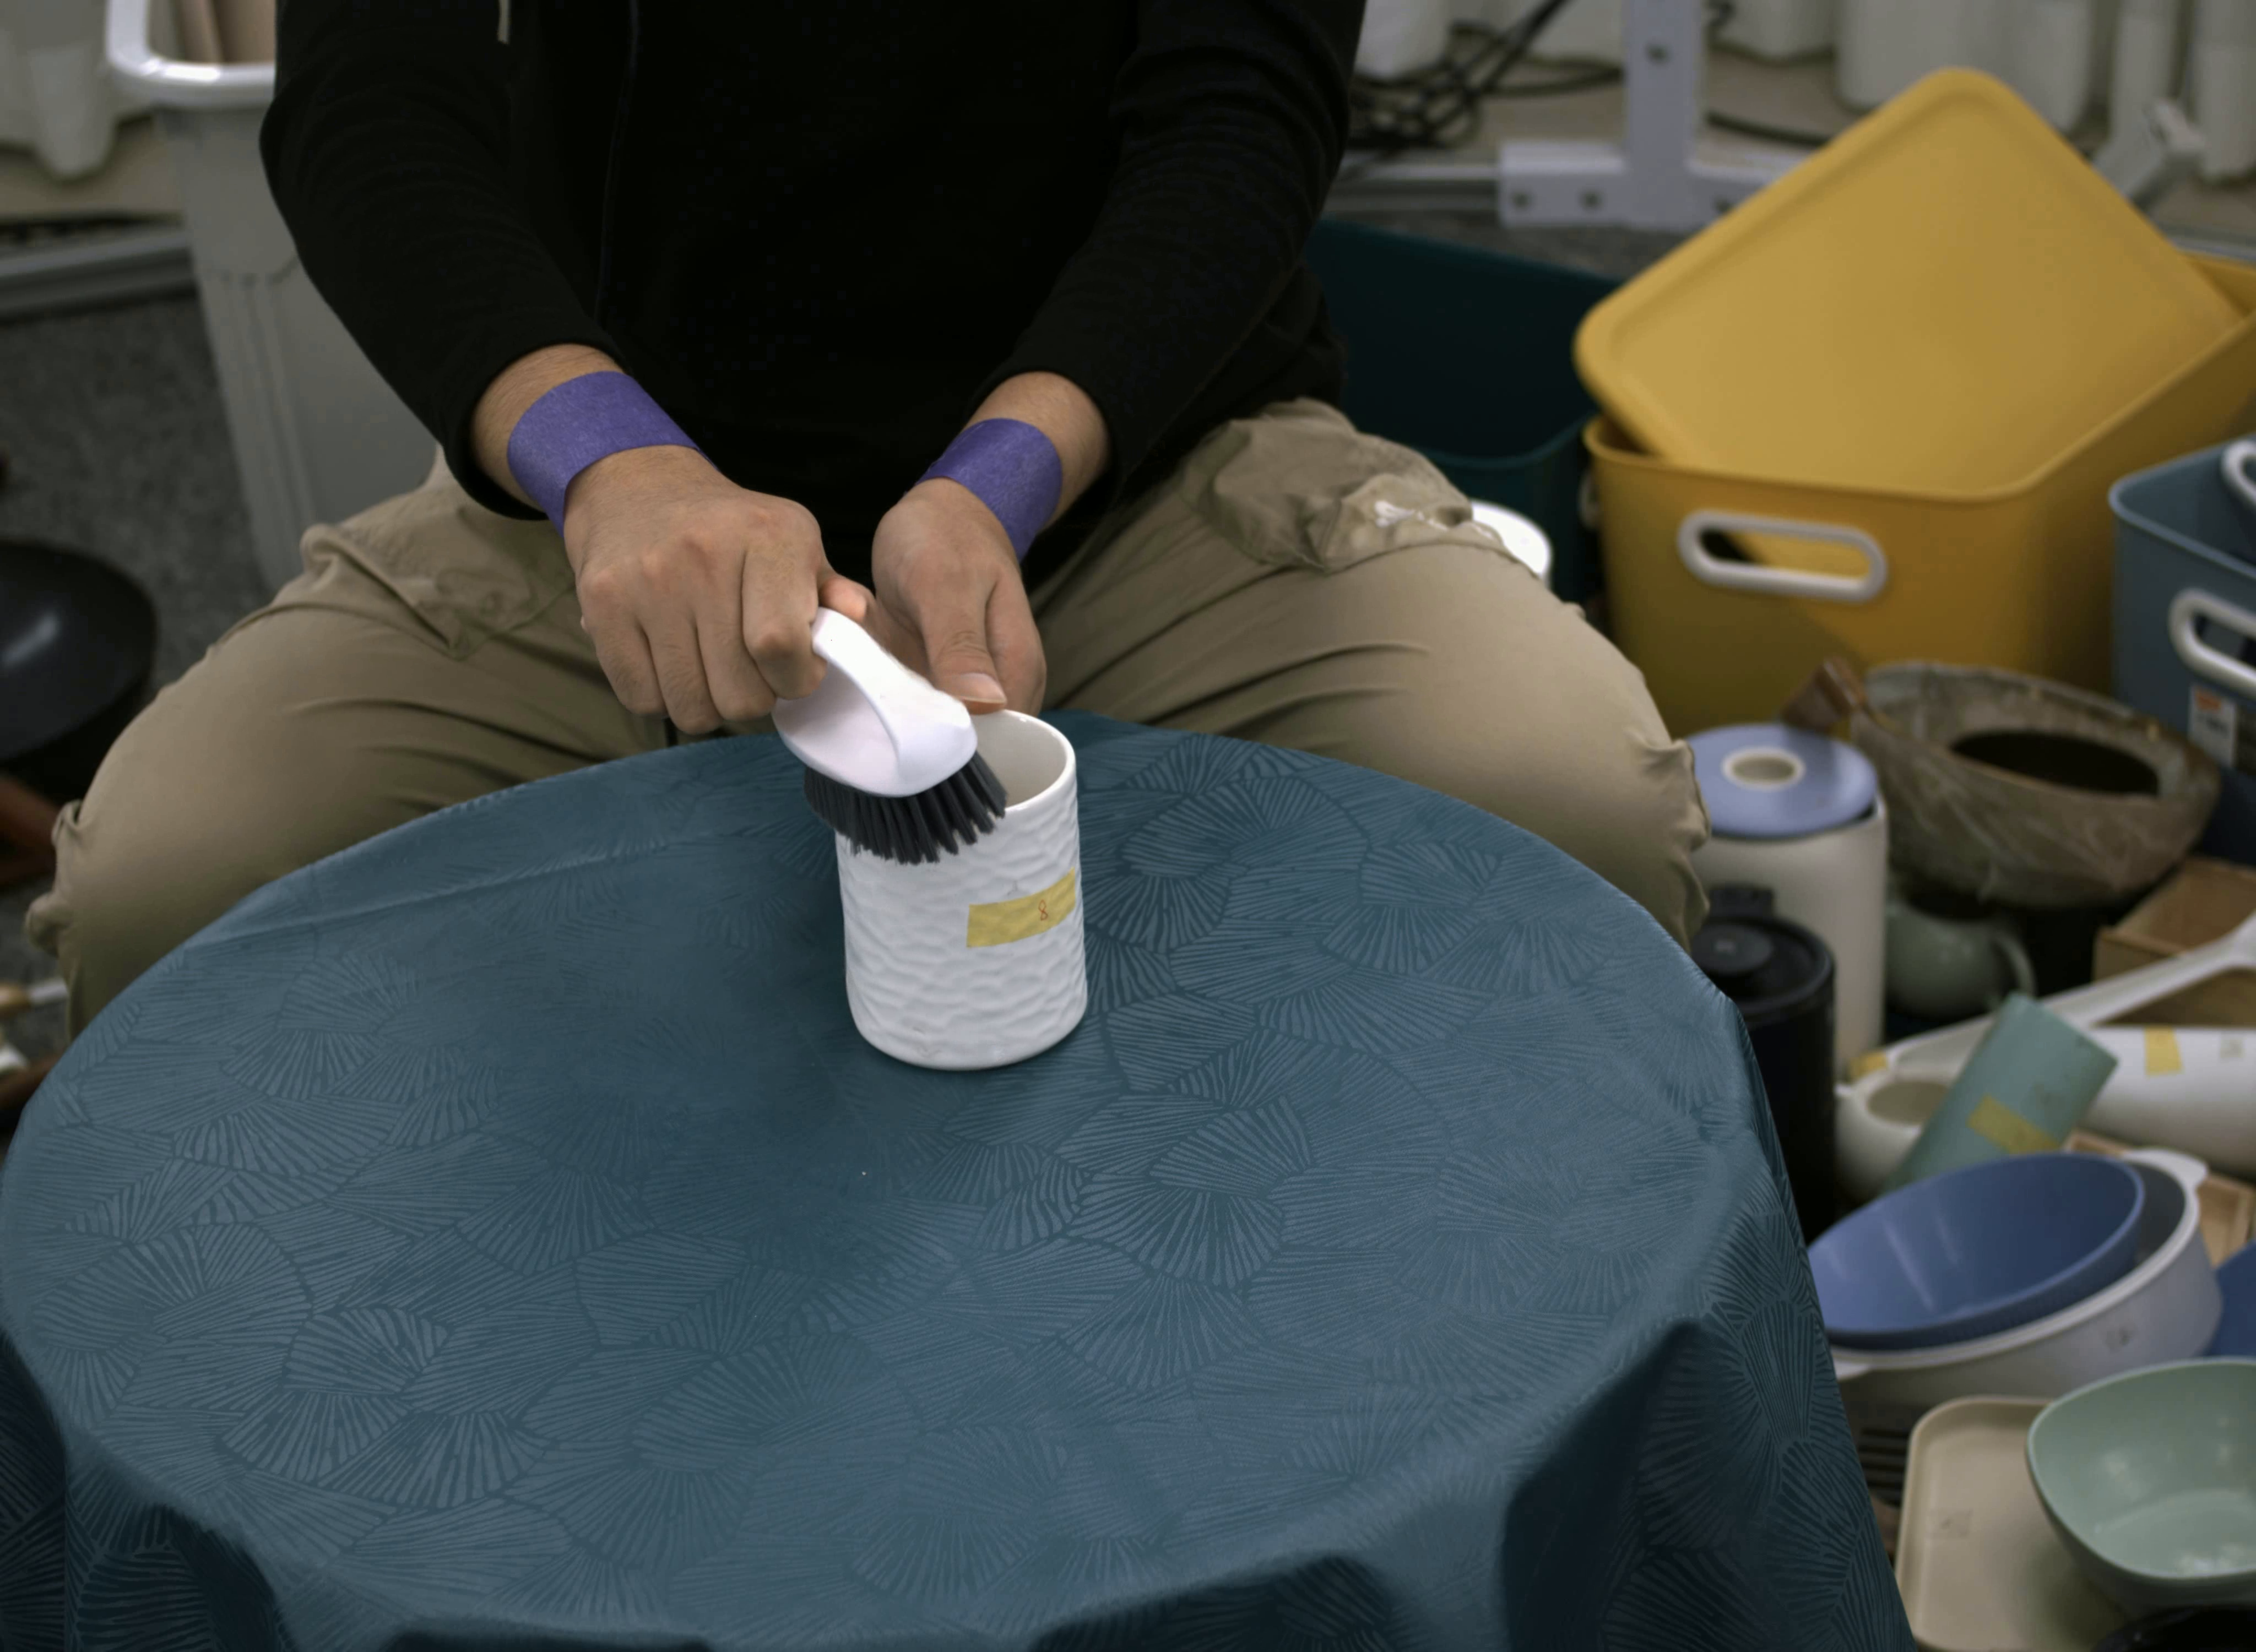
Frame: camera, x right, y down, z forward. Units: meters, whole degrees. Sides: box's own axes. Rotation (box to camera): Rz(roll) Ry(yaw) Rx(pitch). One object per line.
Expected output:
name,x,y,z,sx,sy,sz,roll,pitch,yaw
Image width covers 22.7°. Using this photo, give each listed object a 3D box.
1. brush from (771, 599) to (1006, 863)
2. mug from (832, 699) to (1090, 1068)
brush,-0.087,-0.039,1.871,0.050,0.072,0.099,-32,32,-16
mug,-0.062,0.014,1.961,0.085,0.101,0.119,-12,29,-13
